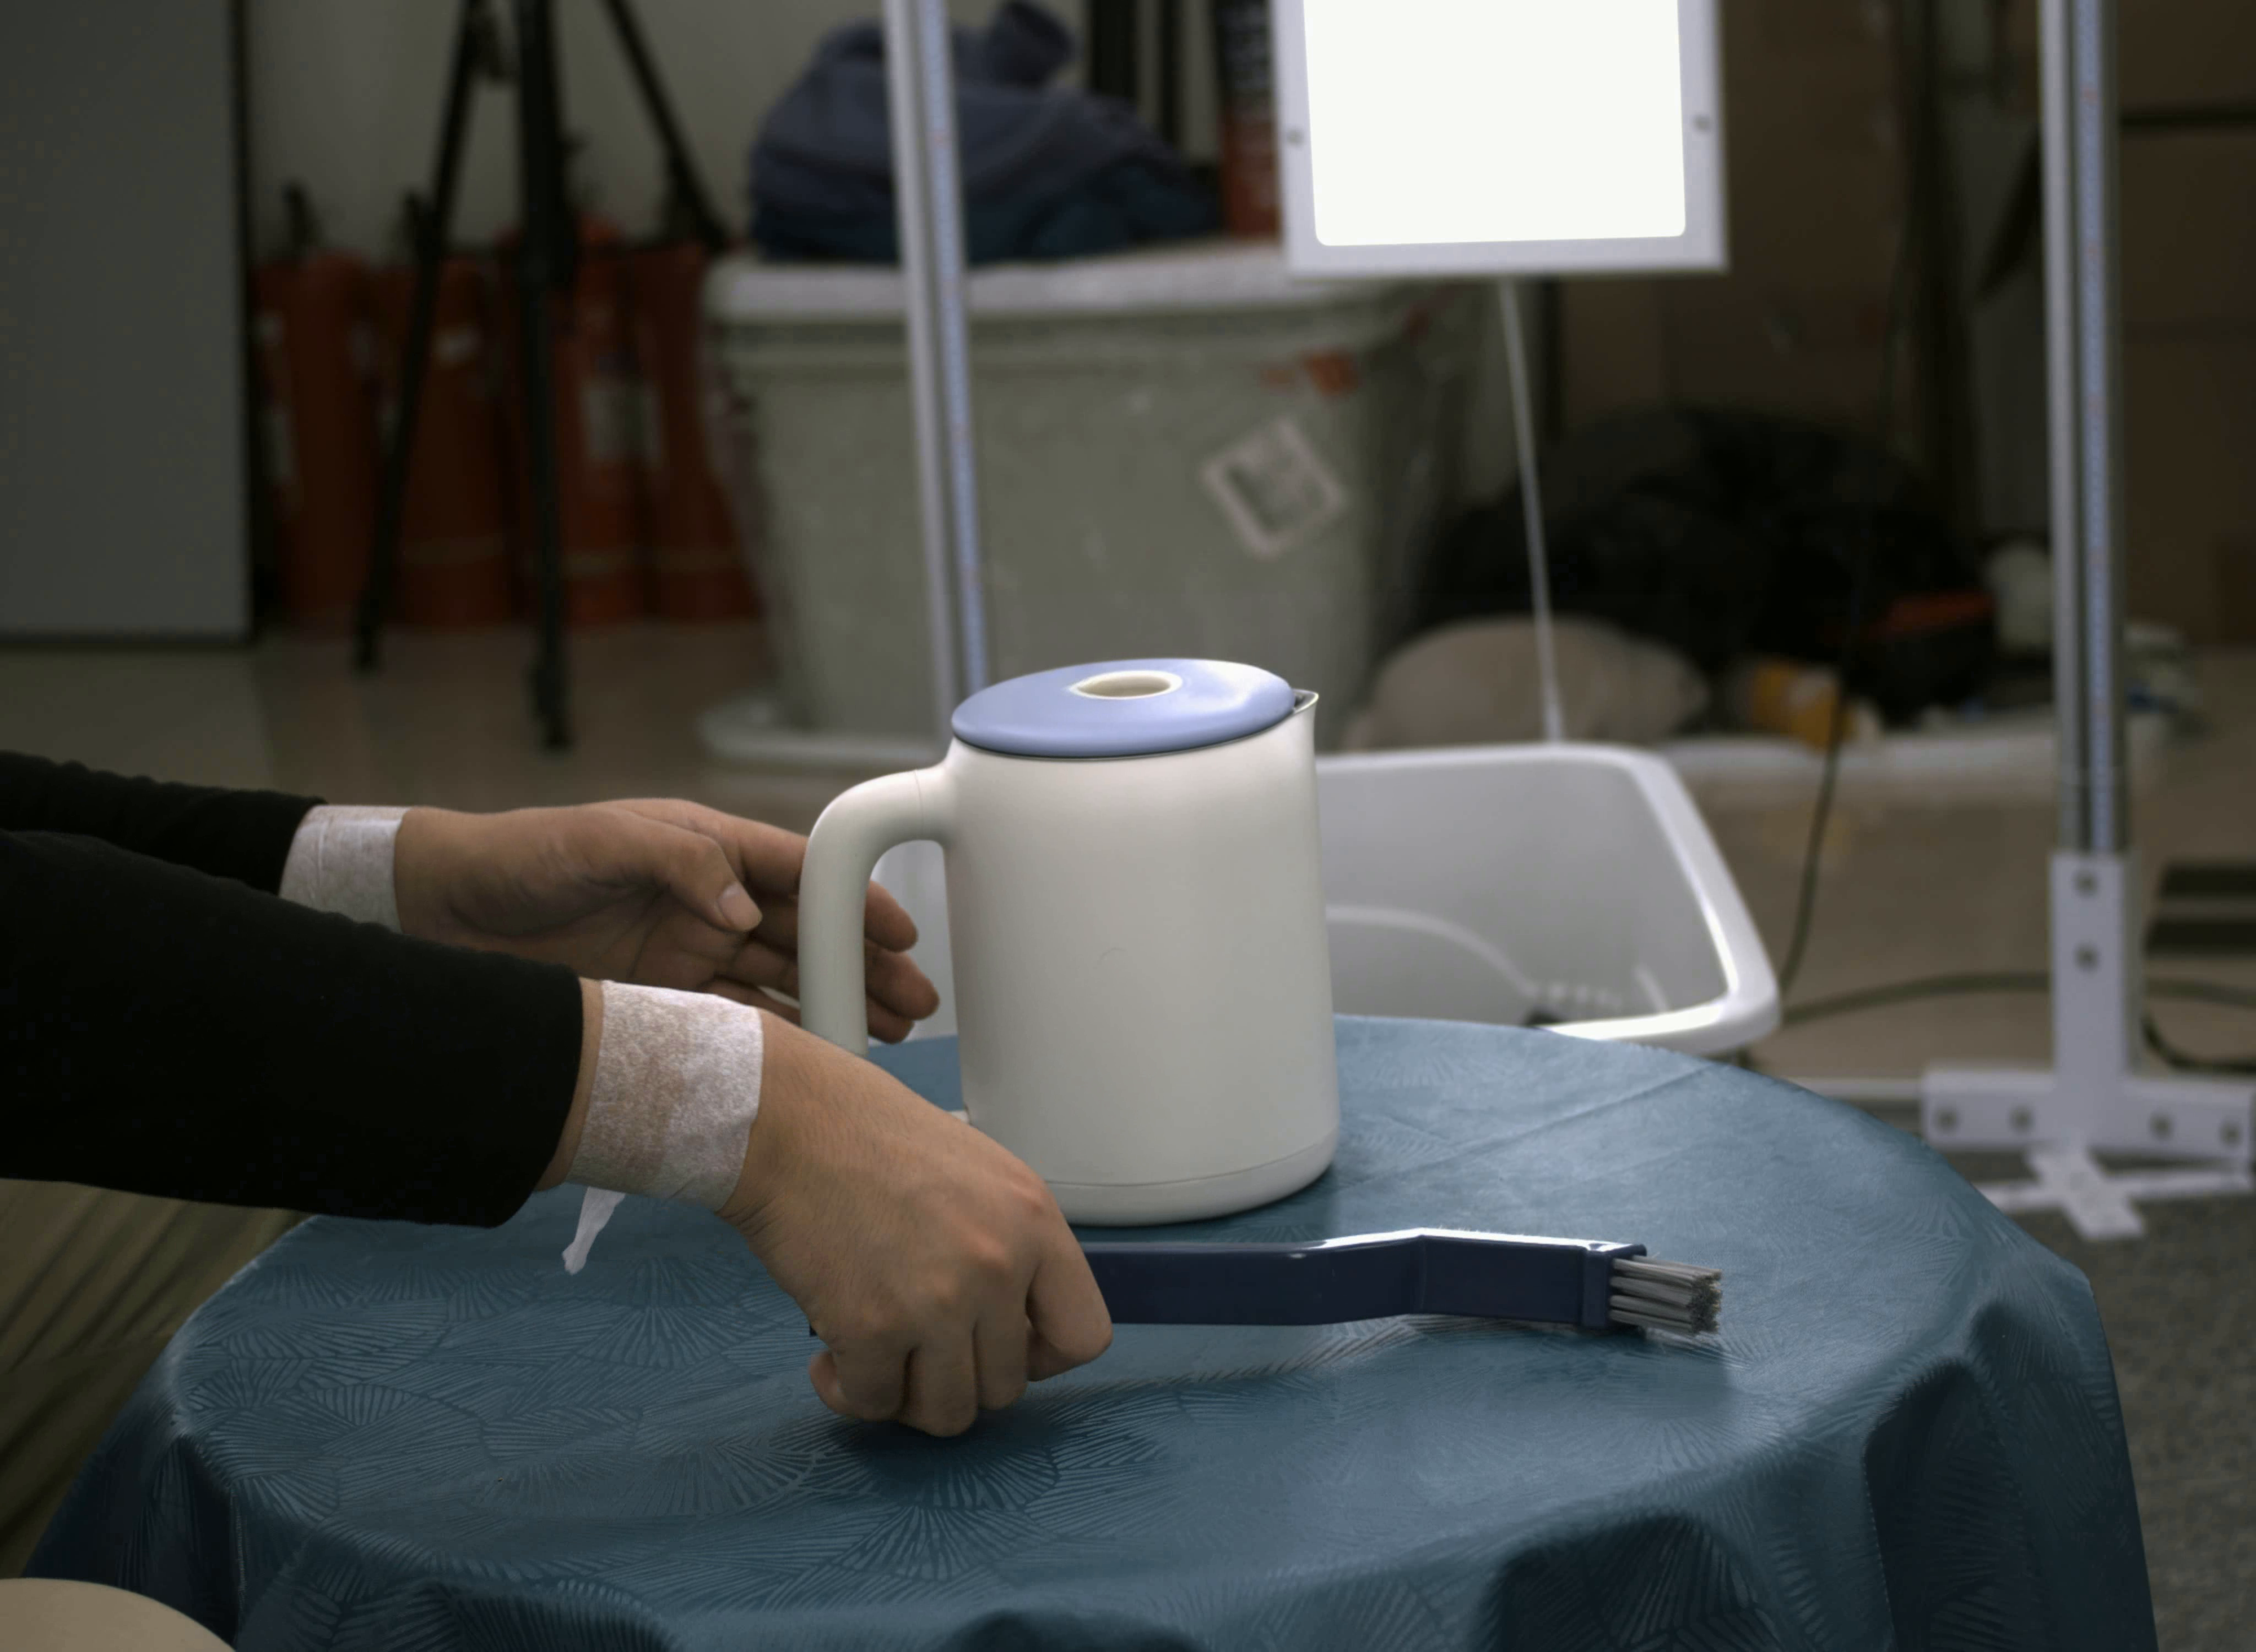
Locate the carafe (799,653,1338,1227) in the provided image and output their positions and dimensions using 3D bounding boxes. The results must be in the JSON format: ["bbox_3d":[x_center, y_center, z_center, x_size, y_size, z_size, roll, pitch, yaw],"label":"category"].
[{"bbox_3d":[-0.021,0.041,1.891,0.189,0.183,0.133,-8,14,-9],"label":"carafe"}]

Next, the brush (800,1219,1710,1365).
[{"bbox_3d":[0.038,0.143,1.702,0.270,0.034,0.096,-1,12,-11],"label":"brush"}]
